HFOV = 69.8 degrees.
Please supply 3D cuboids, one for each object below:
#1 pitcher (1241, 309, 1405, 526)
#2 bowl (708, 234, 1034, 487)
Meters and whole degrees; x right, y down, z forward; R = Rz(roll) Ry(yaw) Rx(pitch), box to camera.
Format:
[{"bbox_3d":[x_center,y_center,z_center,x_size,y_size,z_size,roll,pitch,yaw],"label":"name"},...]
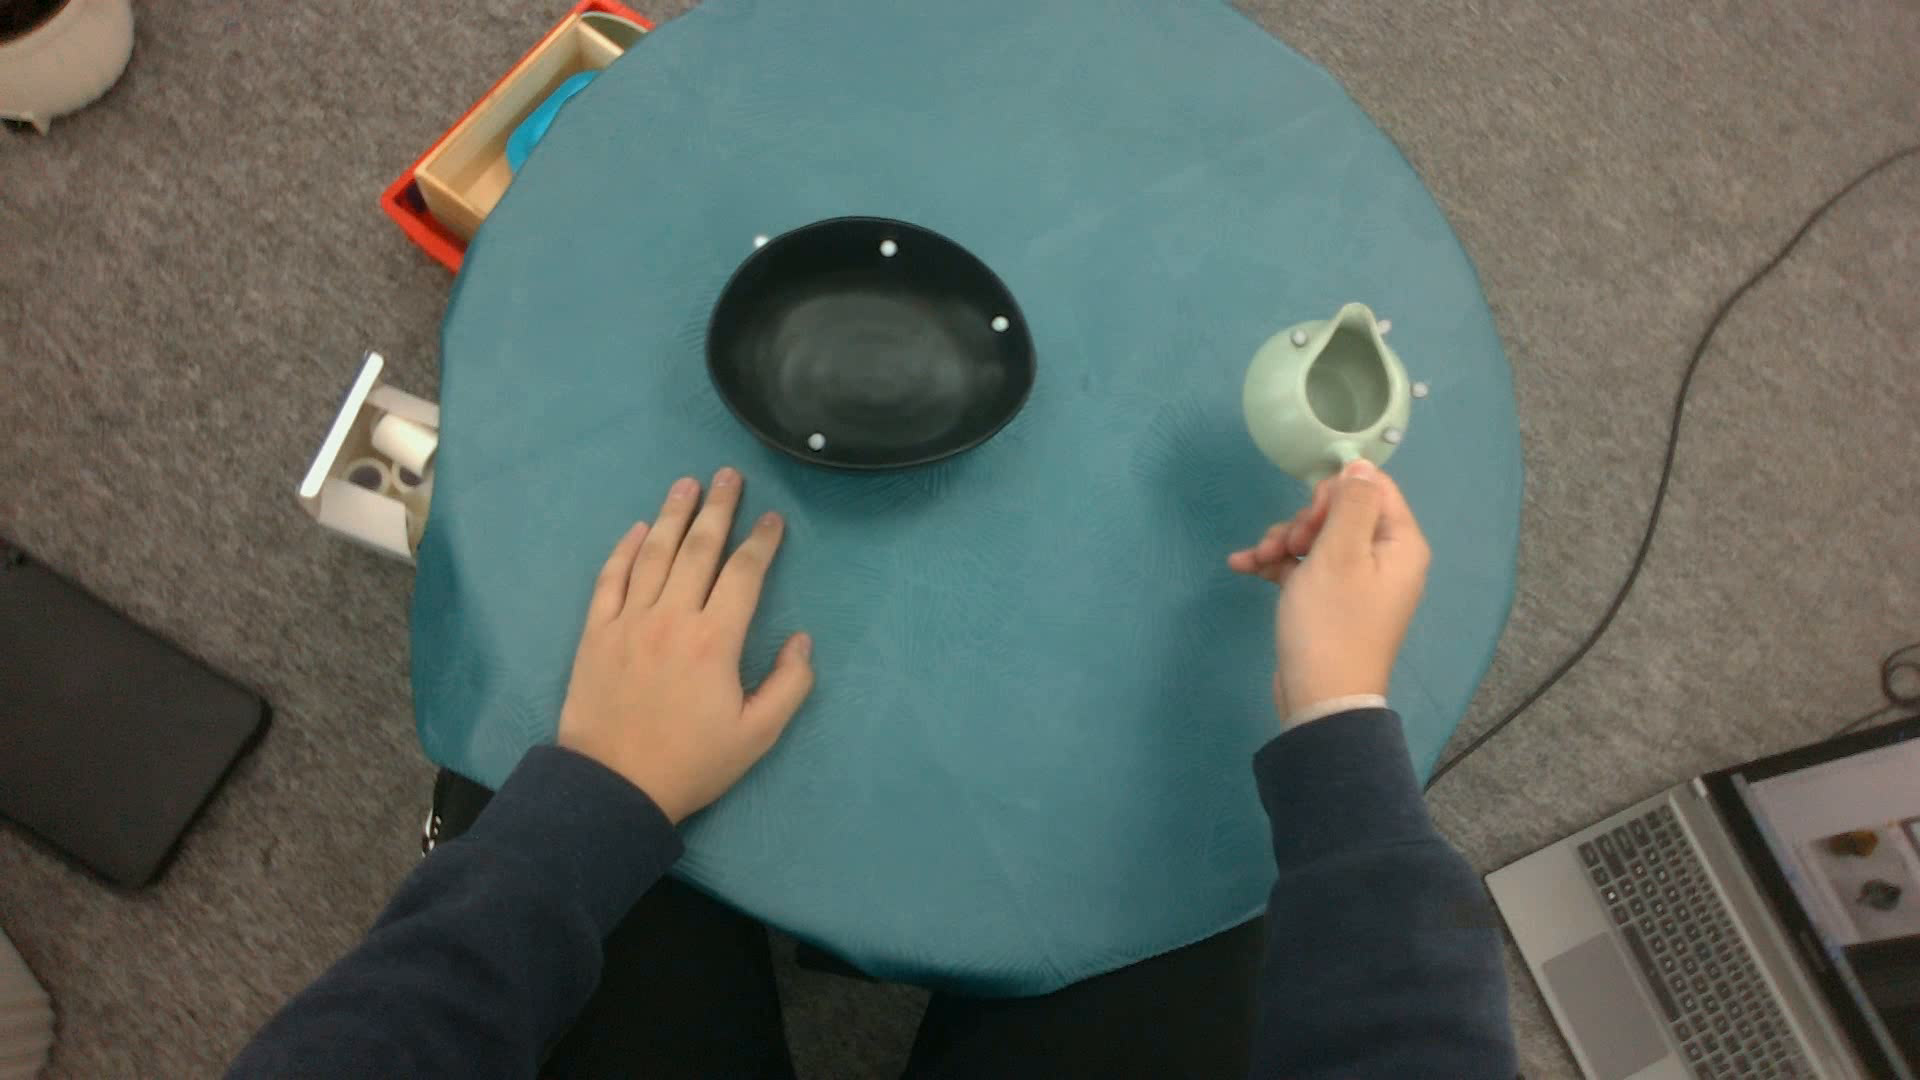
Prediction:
[{"bbox_3d":[0.189,-0.060,0.706,0.086,0.060,0.108,3,82,-4],"label":"pitcher"},{"bbox_3d":[-0.047,-0.088,0.736,0.170,0.066,0.137,0,75,-8],"label":"bowl"}]
